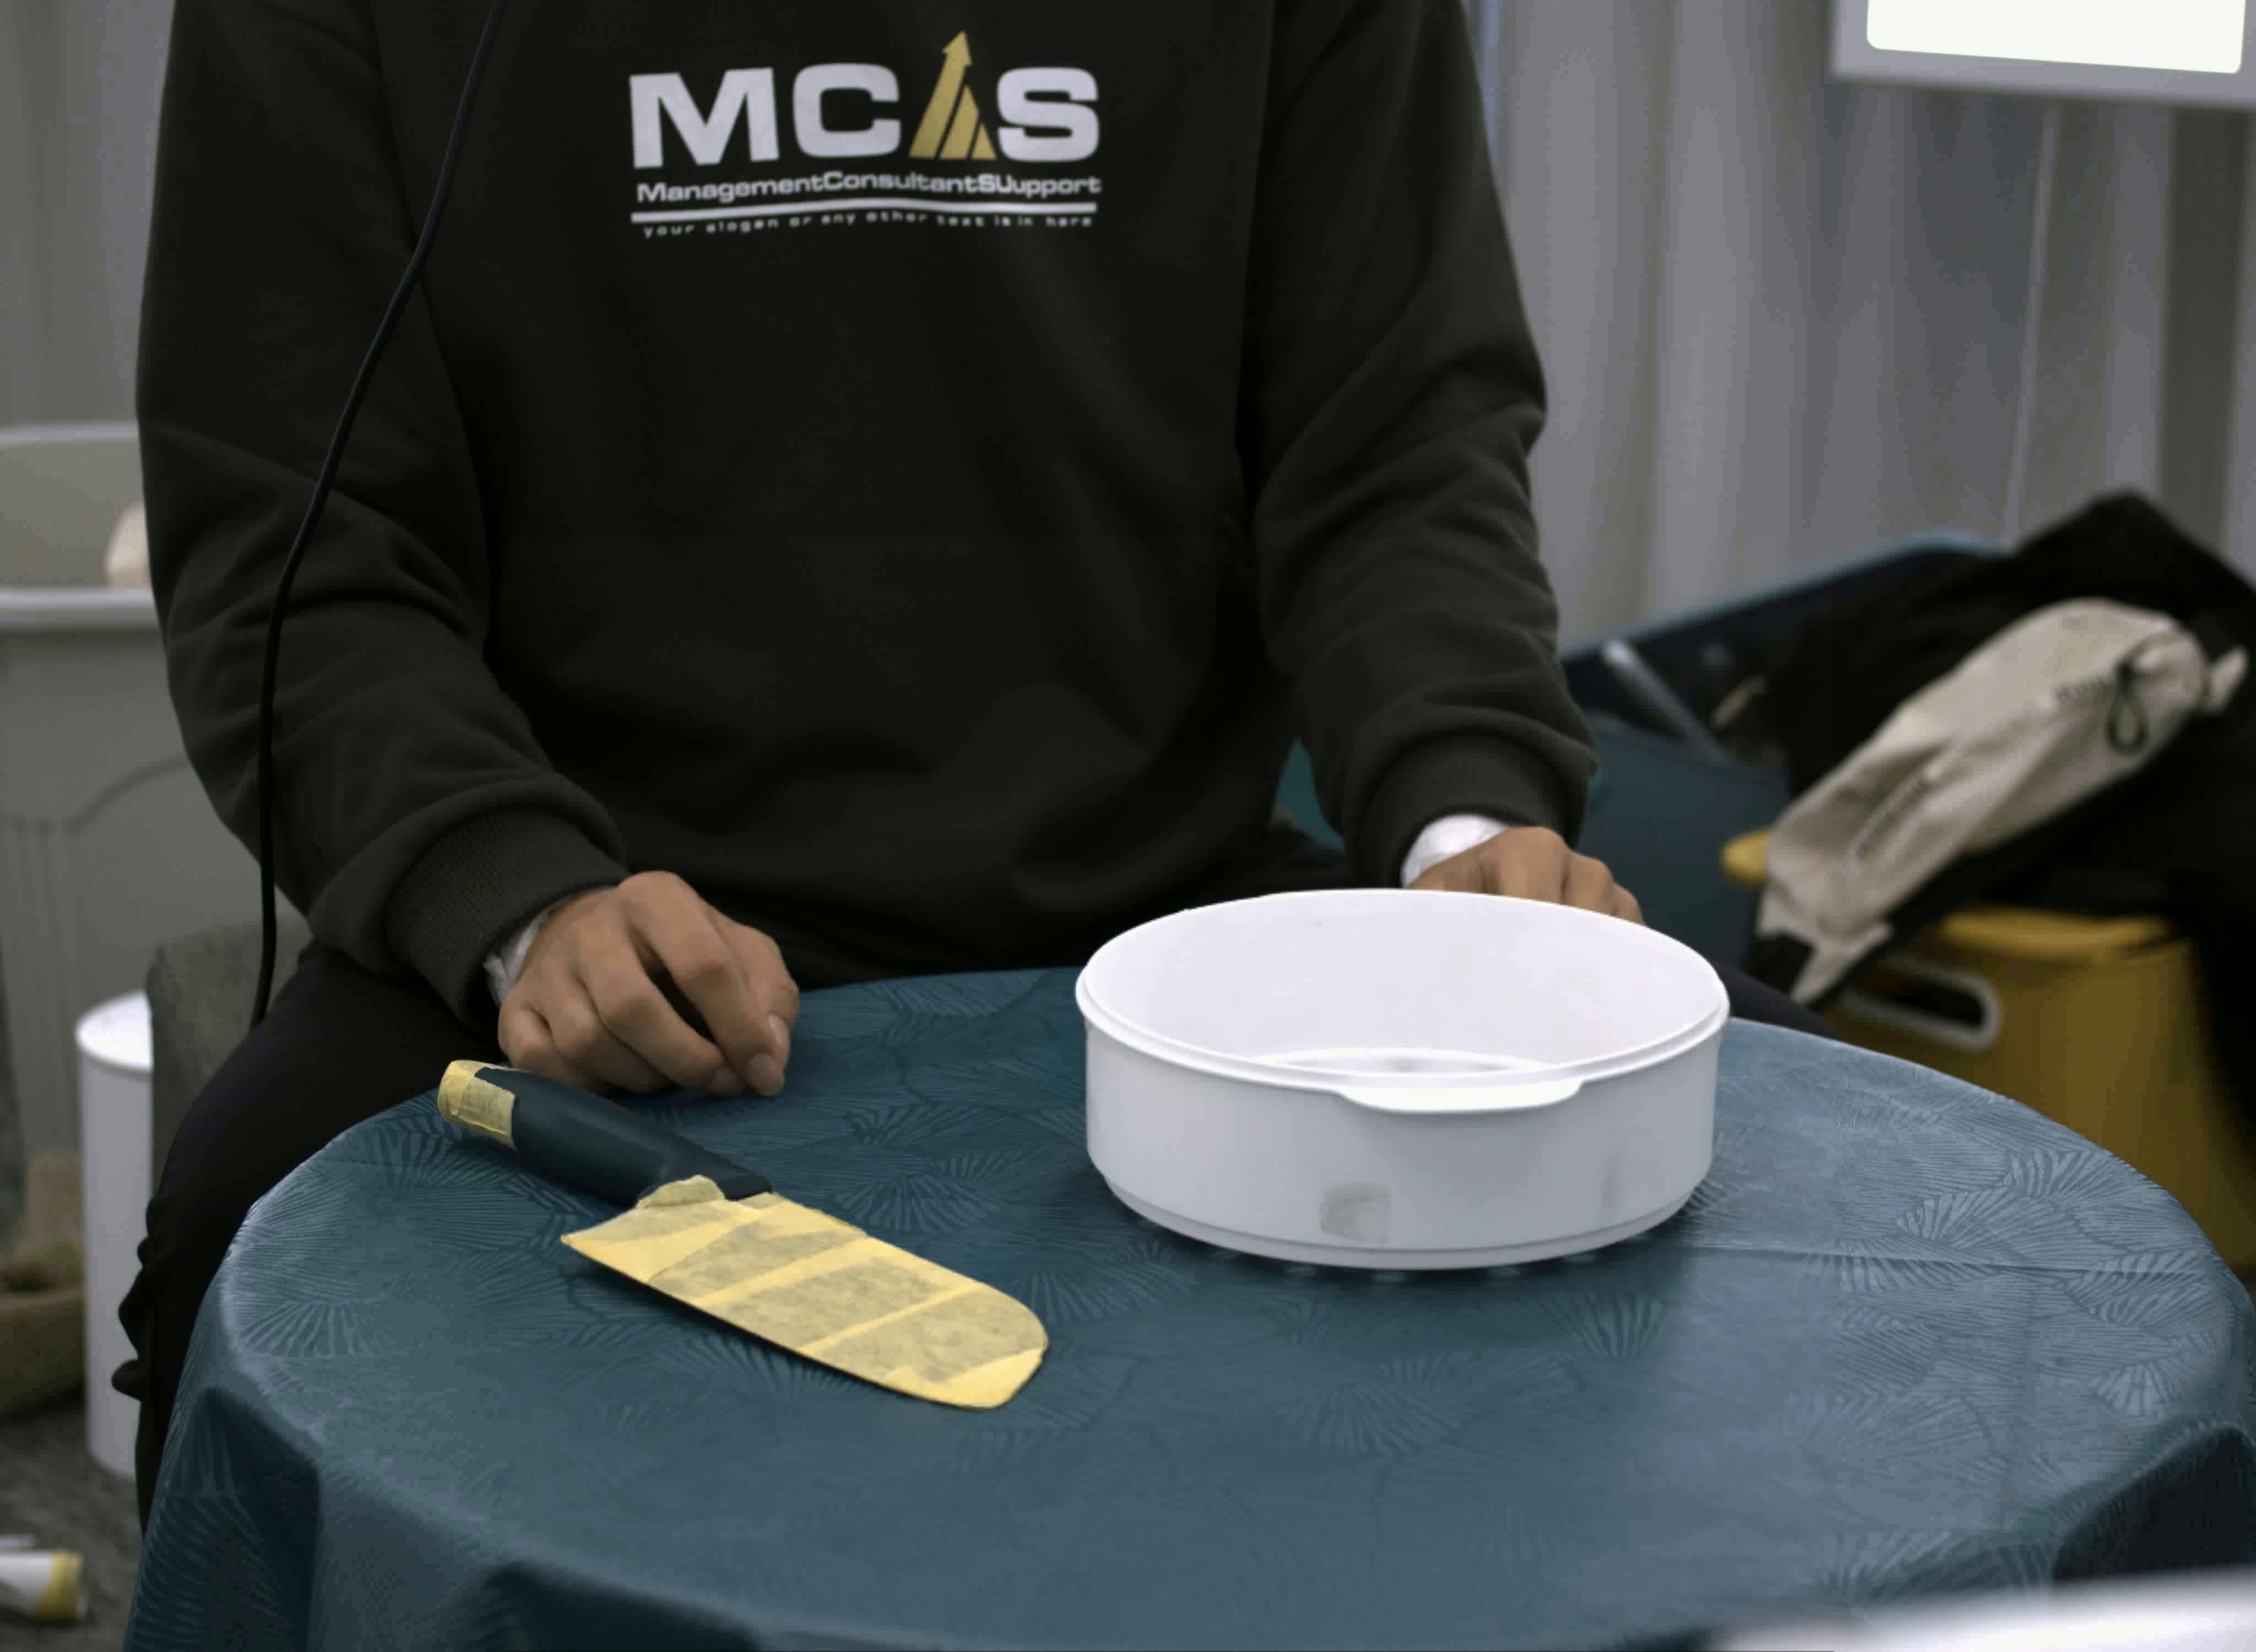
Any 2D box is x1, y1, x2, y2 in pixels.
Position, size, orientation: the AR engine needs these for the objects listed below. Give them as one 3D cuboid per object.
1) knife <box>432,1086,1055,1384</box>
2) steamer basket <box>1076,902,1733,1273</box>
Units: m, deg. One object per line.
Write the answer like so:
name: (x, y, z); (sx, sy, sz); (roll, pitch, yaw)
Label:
knife: (-0.125, 0.122, 1.557); (0.081, 0.027, 0.285); (-11, 20, -41)
steamer basket: (0.084, 0.080, 1.620); (0.202, 0.070, 0.229); (-1, 14, -8)
